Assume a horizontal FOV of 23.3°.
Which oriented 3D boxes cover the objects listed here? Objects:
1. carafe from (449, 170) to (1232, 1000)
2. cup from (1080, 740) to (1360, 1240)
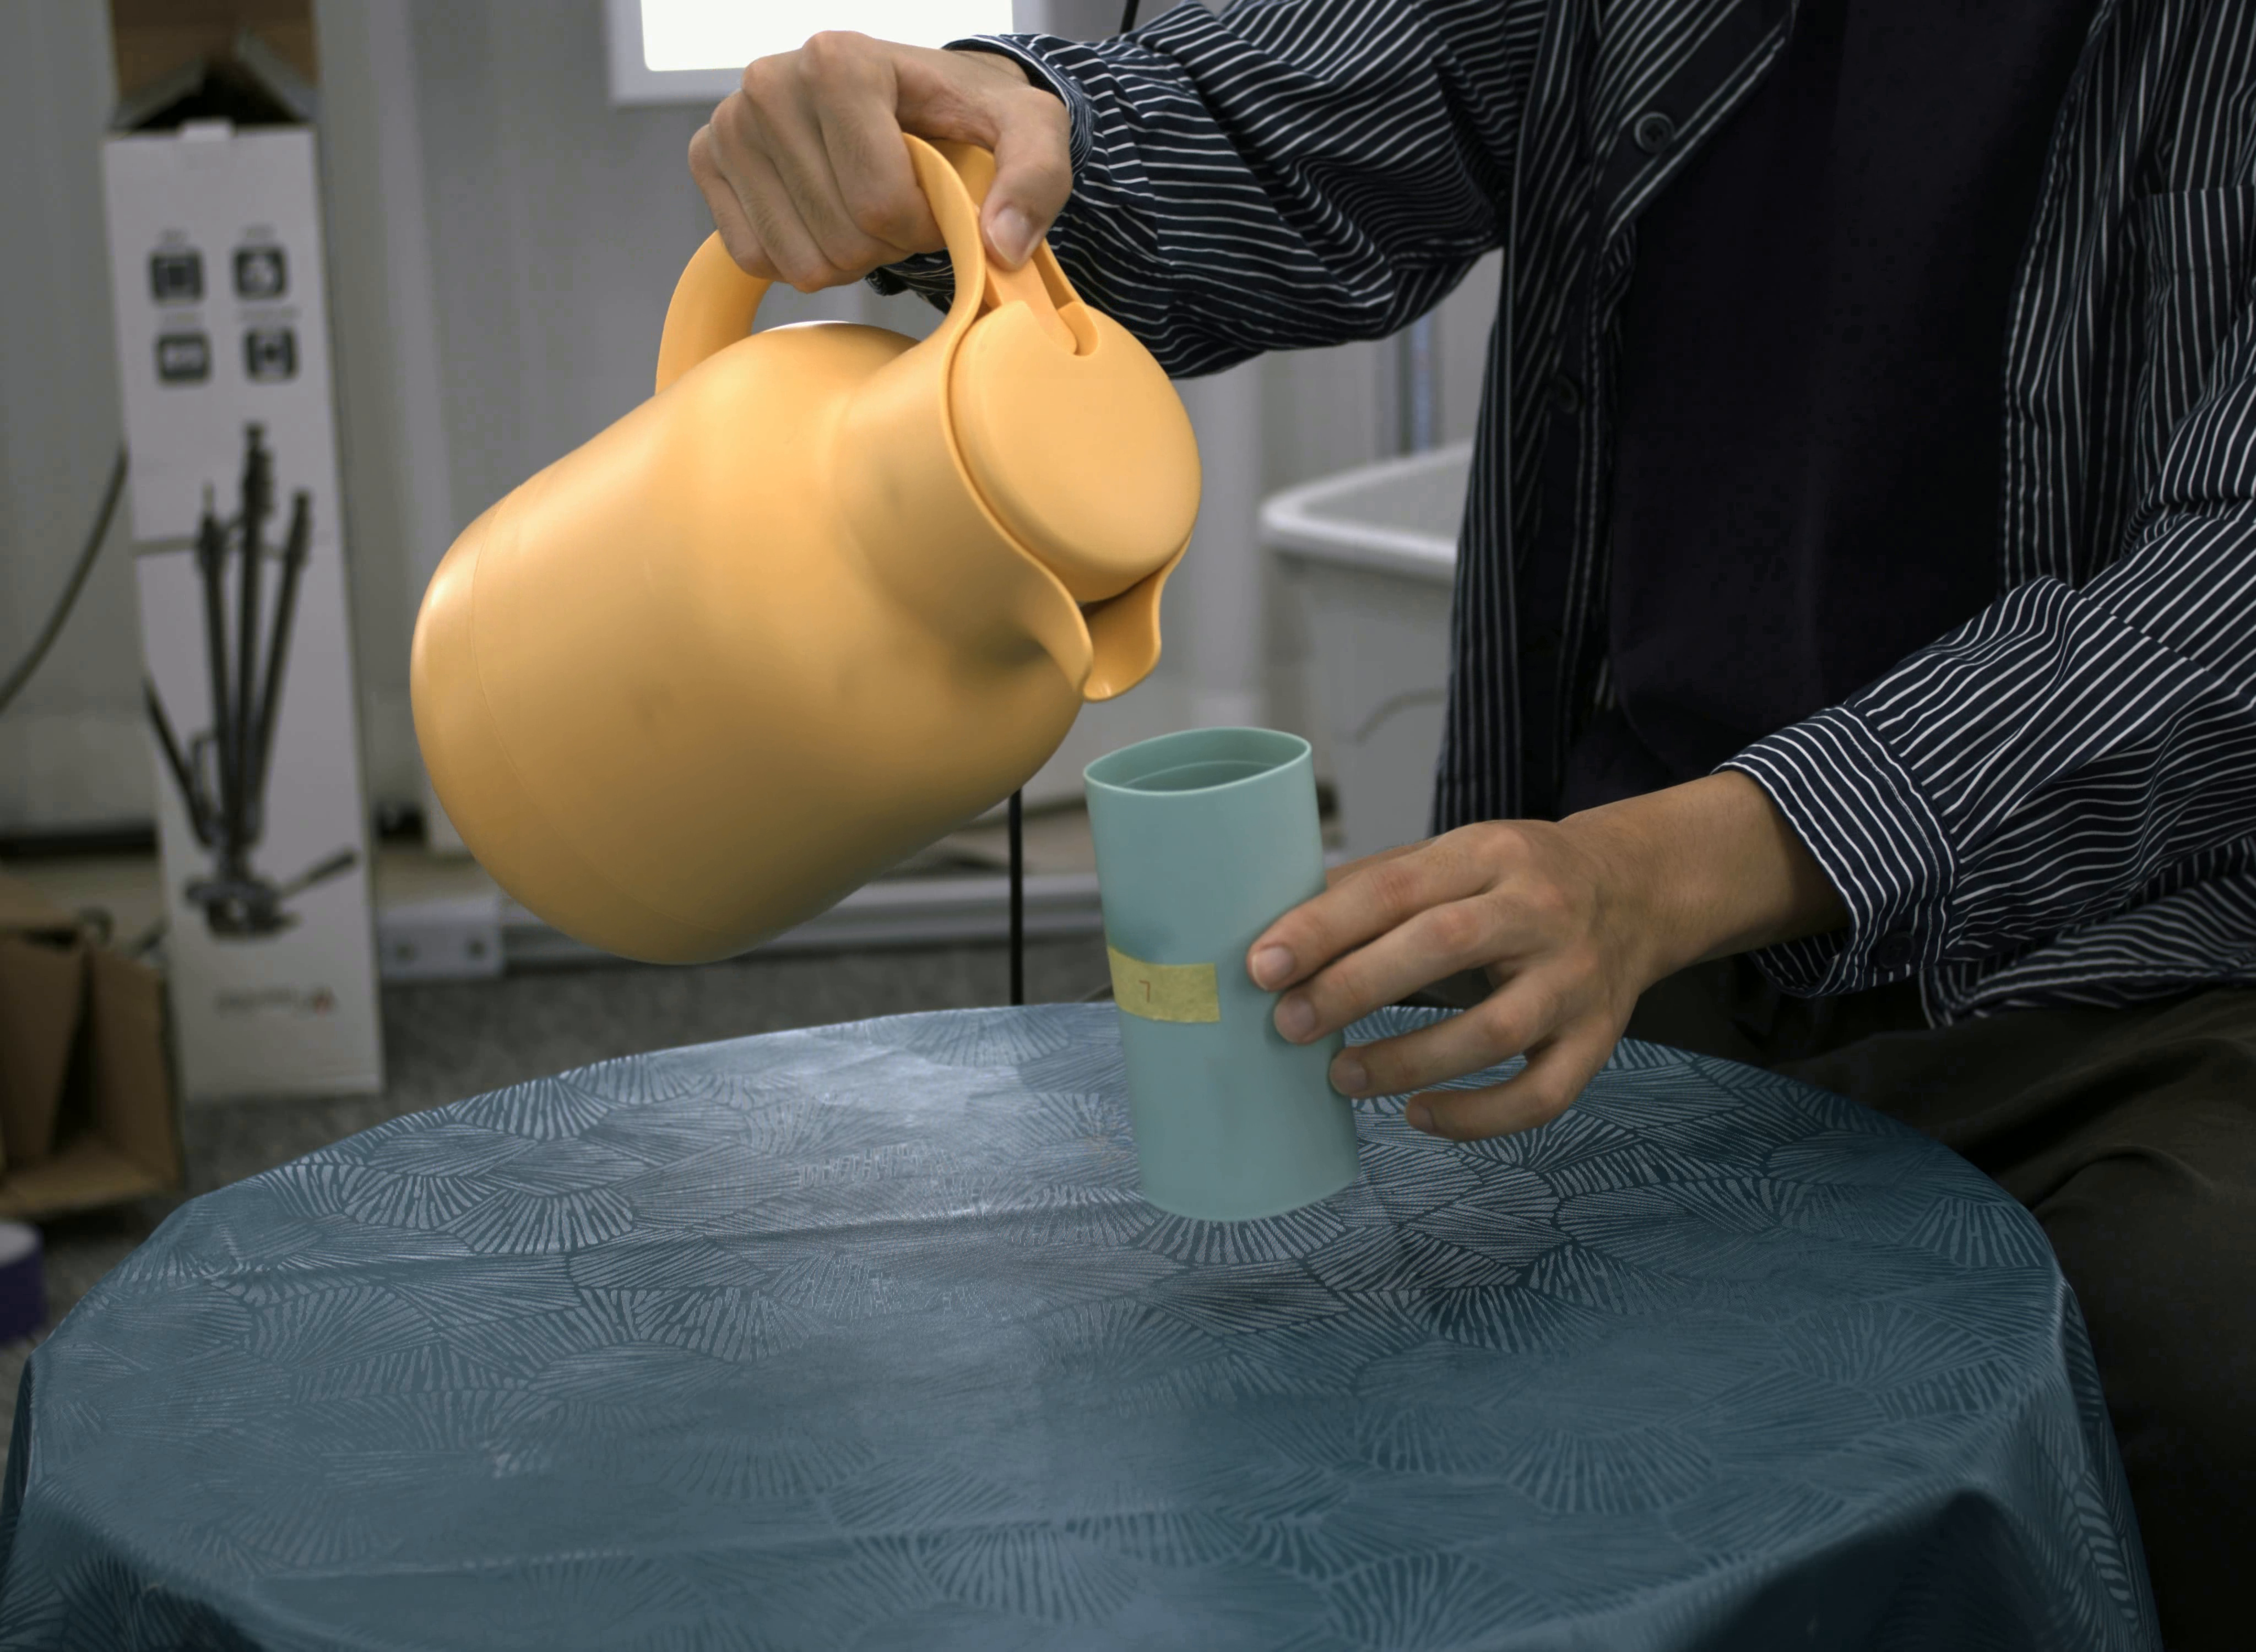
[{"bbox_3d":[-0.085,-0.077,1.668,0.162,0.204,0.259,-2,-21,-45],"label":"carafe"},{"bbox_3d":[0.028,0.046,1.585,0.066,0.132,0.067,-8,15,2],"label":"cup"}]
